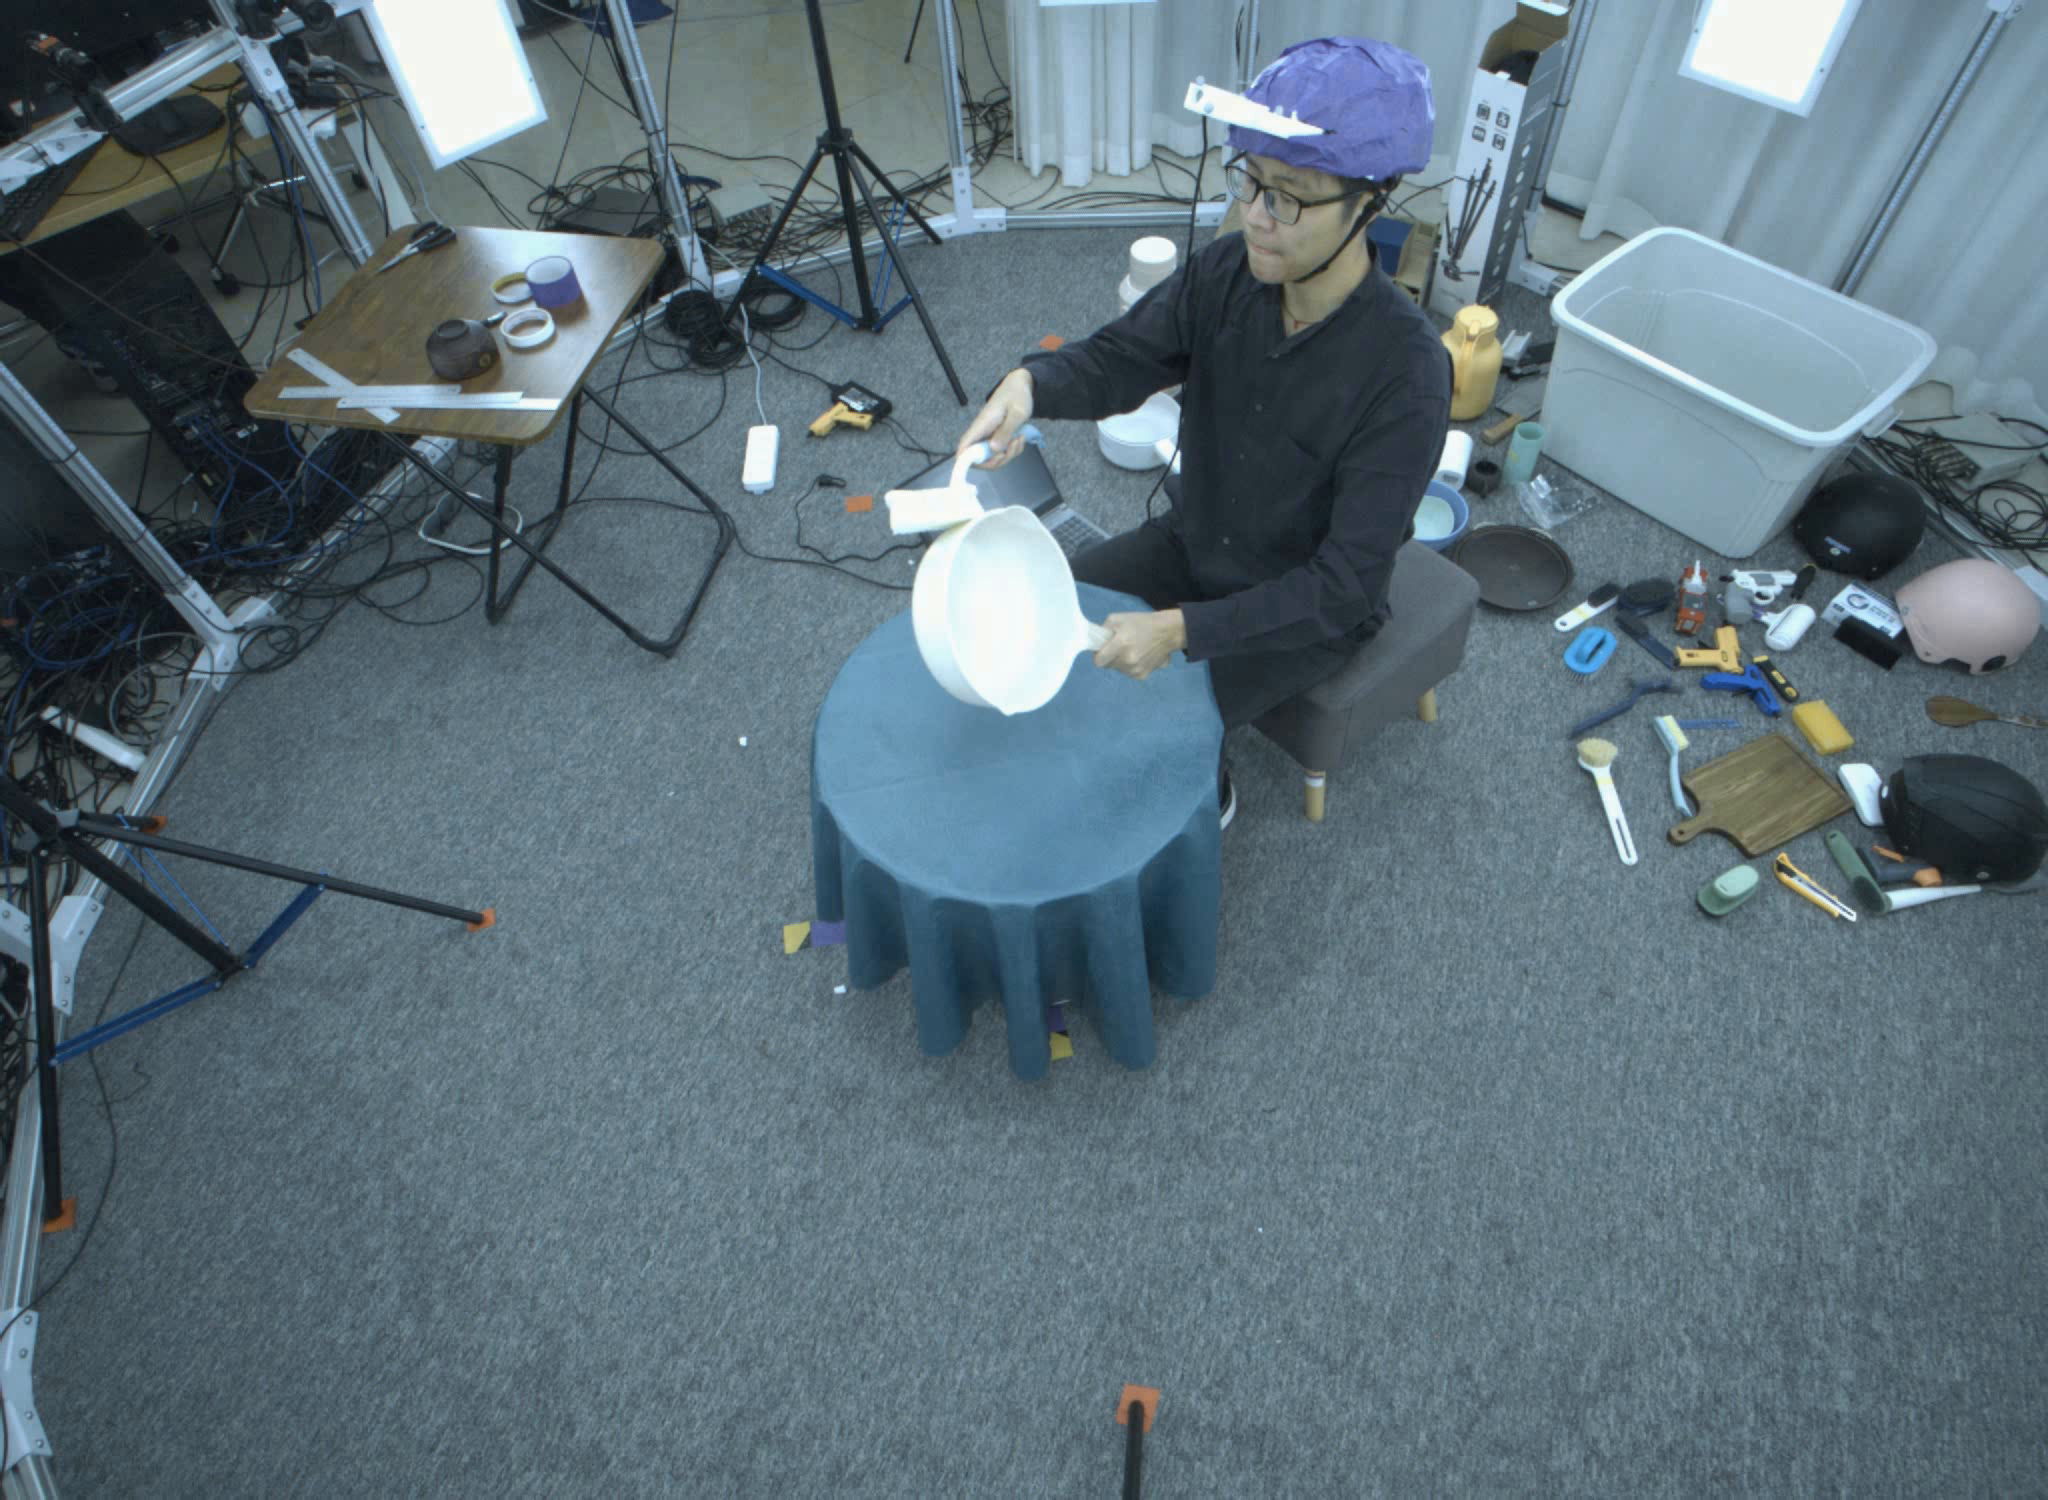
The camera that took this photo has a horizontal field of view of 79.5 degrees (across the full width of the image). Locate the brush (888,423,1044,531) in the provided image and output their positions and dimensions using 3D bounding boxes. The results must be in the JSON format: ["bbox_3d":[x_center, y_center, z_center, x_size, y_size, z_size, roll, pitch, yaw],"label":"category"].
[{"bbox_3d":[-0.052,-0.332,1.525,0.082,0.085,0.328,25,38,22],"label":"brush"}]

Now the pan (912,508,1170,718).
[{"bbox_3d":[0.026,-0.156,1.603,0.100,0.445,0.262,-3,81,40],"label":"pan"}]
